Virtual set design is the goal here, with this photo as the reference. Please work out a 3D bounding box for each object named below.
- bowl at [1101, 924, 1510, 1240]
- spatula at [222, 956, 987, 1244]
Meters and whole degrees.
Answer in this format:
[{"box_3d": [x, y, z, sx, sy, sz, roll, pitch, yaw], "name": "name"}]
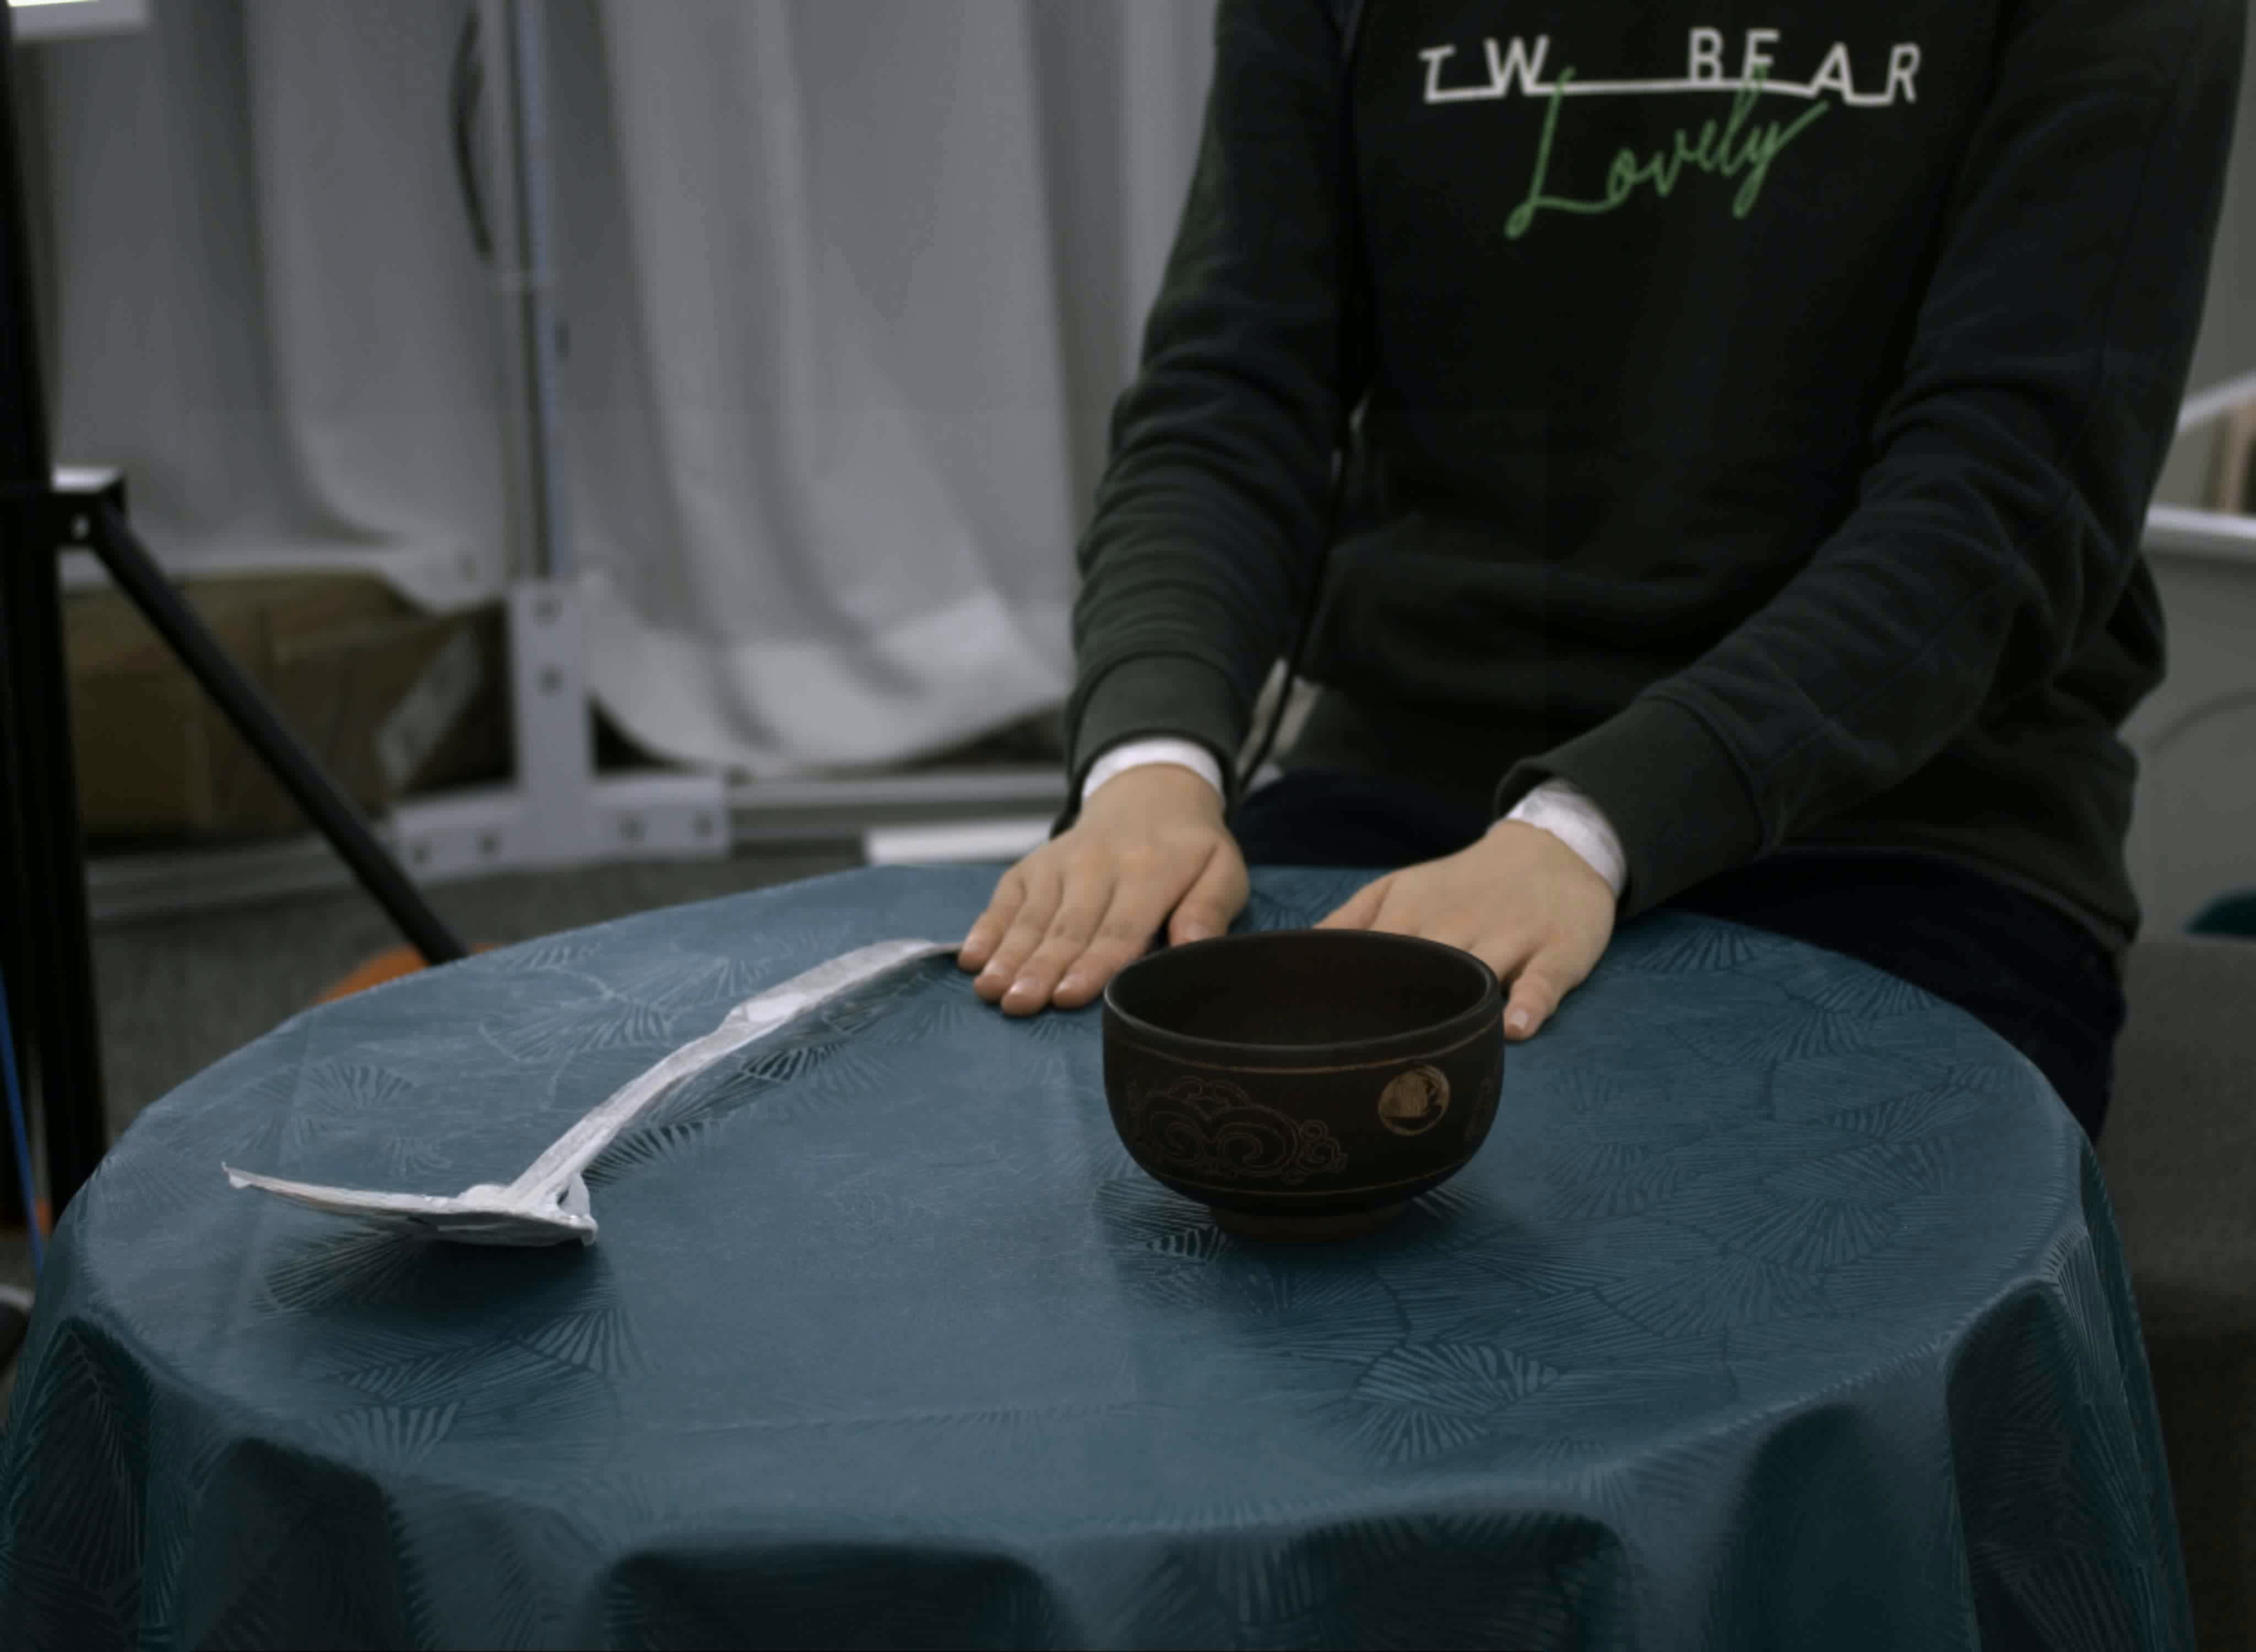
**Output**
[{"box_3d": [0.051, 0.077, 1.527, 0.117, 0.070, 0.118, -1, 15, -1], "name": "bowl"}, {"box_3d": [-0.138, 0.074, 1.631, 0.100, 0.045, 0.359, 4, 17, 27], "name": "spatula"}]
